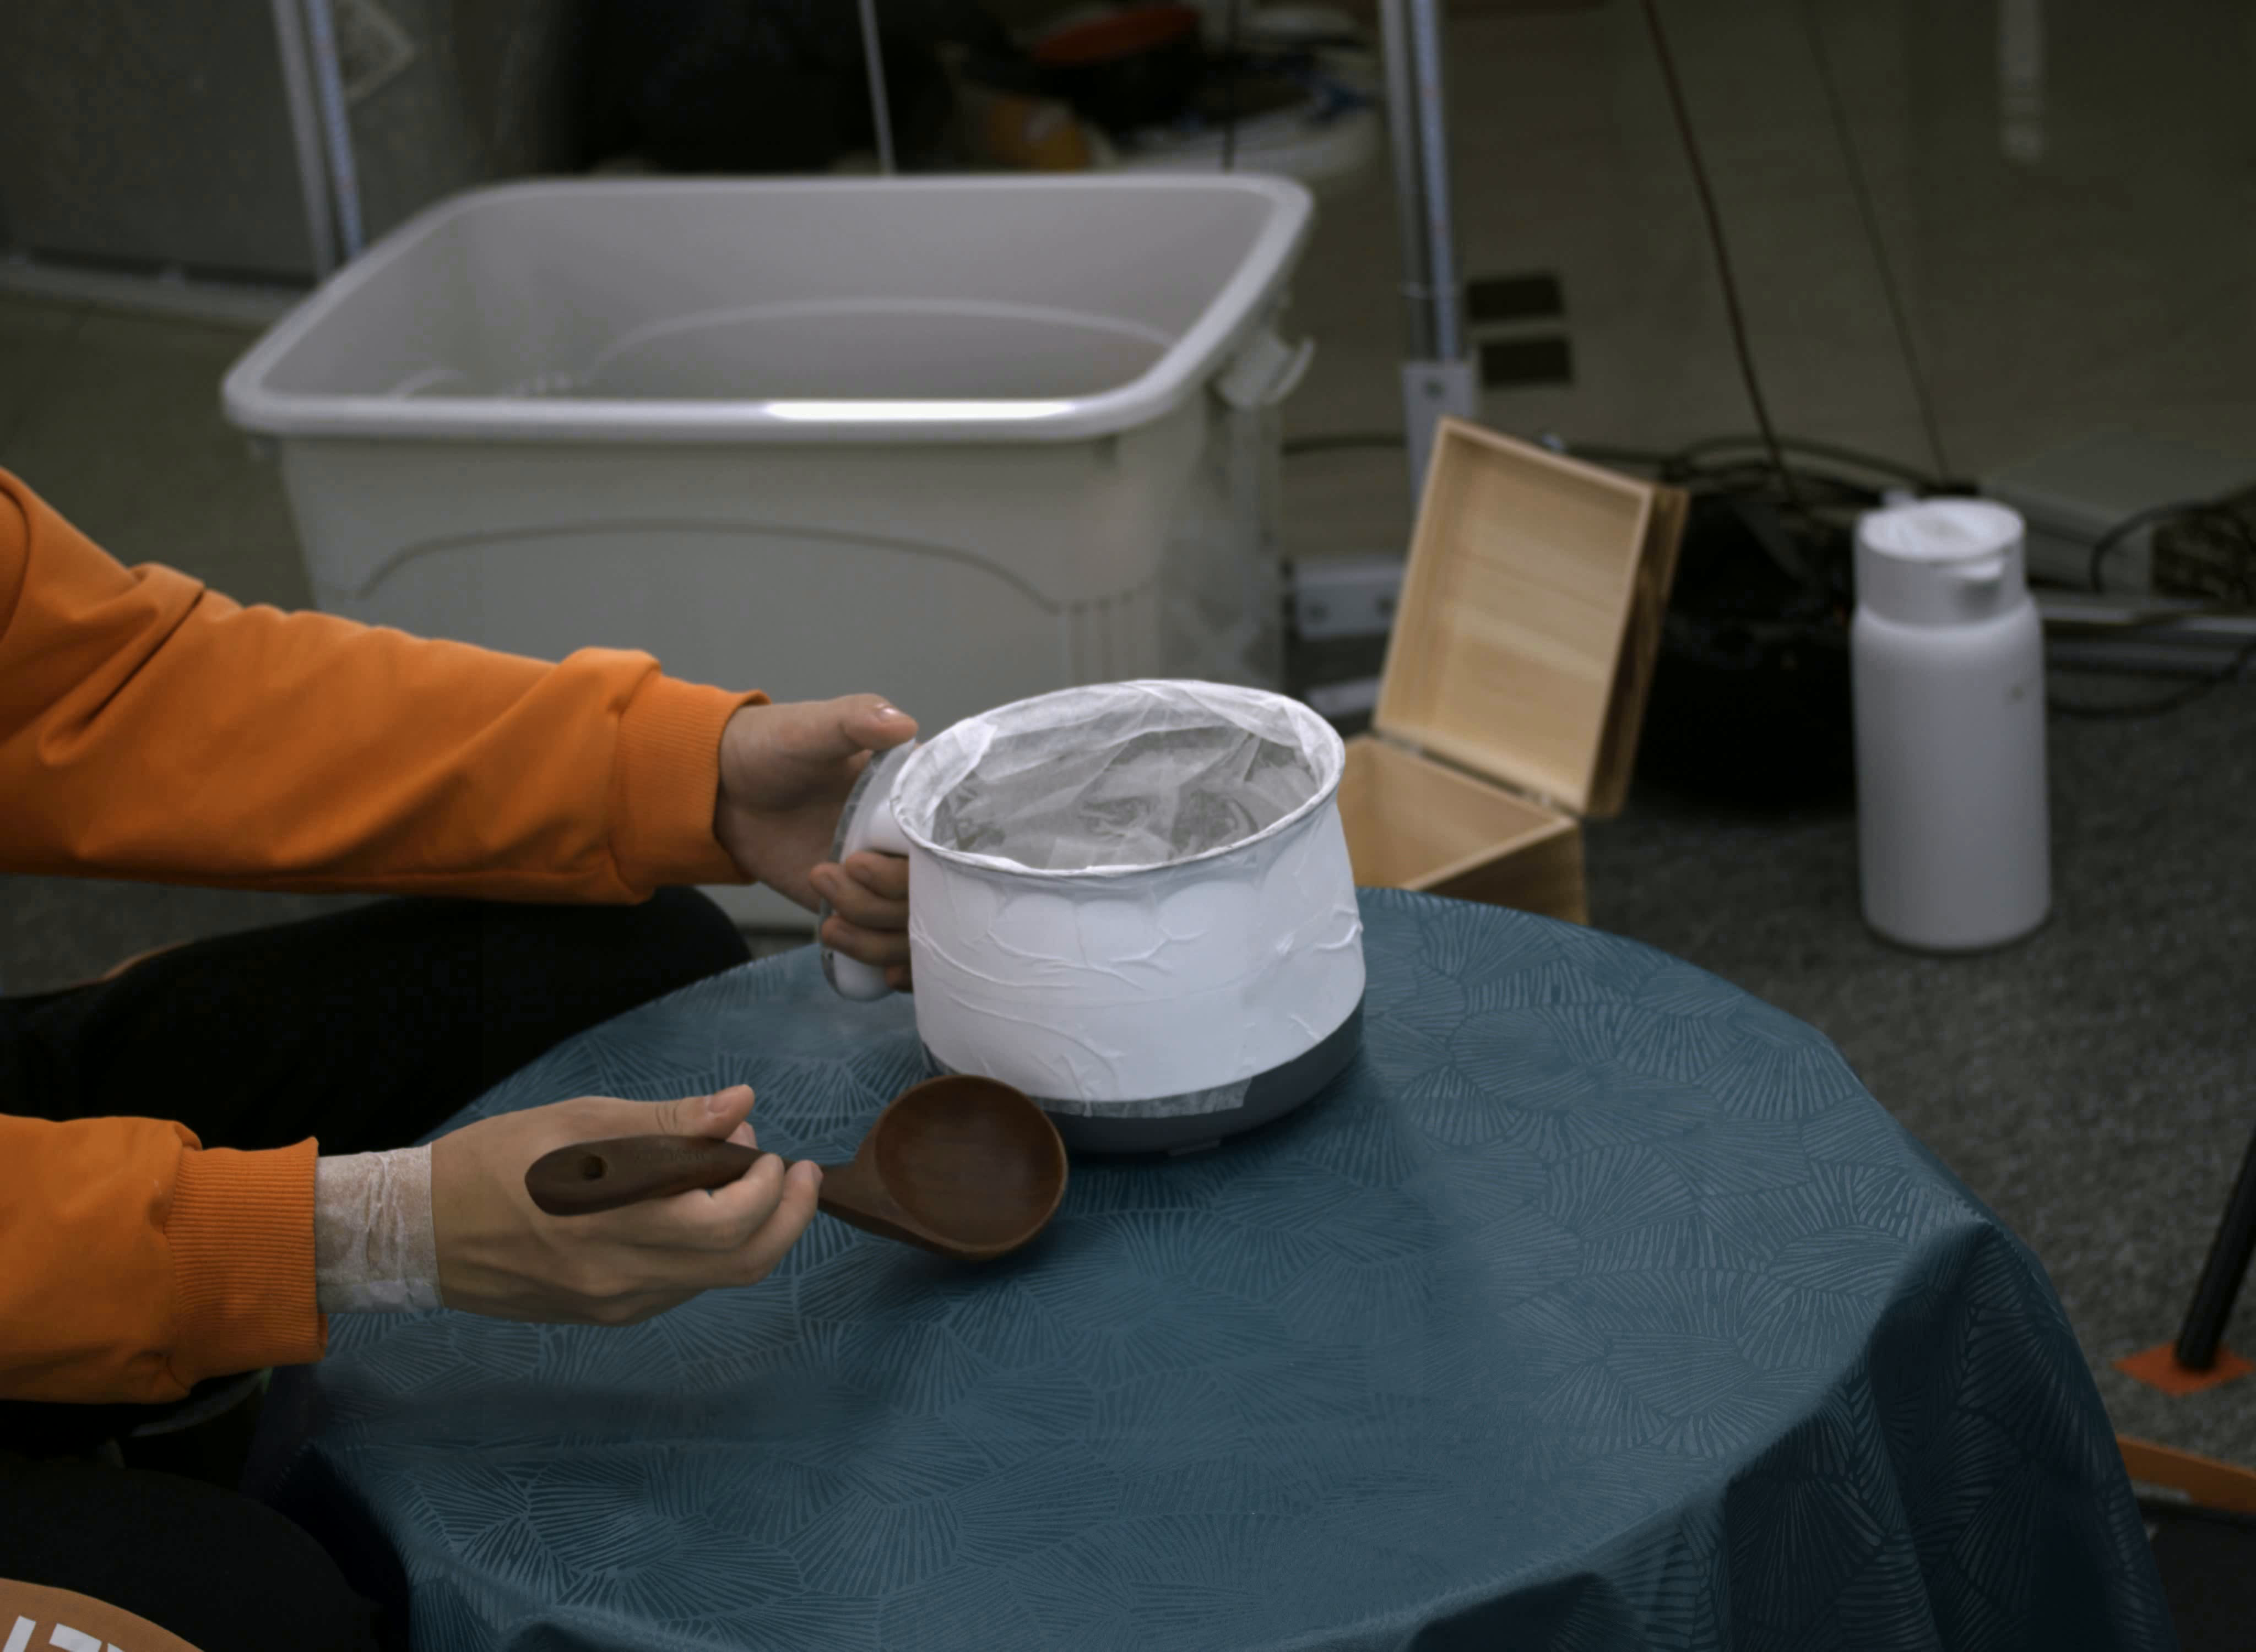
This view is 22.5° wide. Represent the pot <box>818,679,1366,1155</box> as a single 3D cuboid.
[{"bbox_3d":[-0.022,0.033,2.213,0.233,0.139,0.176,9,29,28],"label":"pot"}]

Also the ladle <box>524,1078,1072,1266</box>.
[{"bbox_3d":[-0.114,0.120,2.029,0.261,0.065,0.075,10,42,-56],"label":"ladle"}]
